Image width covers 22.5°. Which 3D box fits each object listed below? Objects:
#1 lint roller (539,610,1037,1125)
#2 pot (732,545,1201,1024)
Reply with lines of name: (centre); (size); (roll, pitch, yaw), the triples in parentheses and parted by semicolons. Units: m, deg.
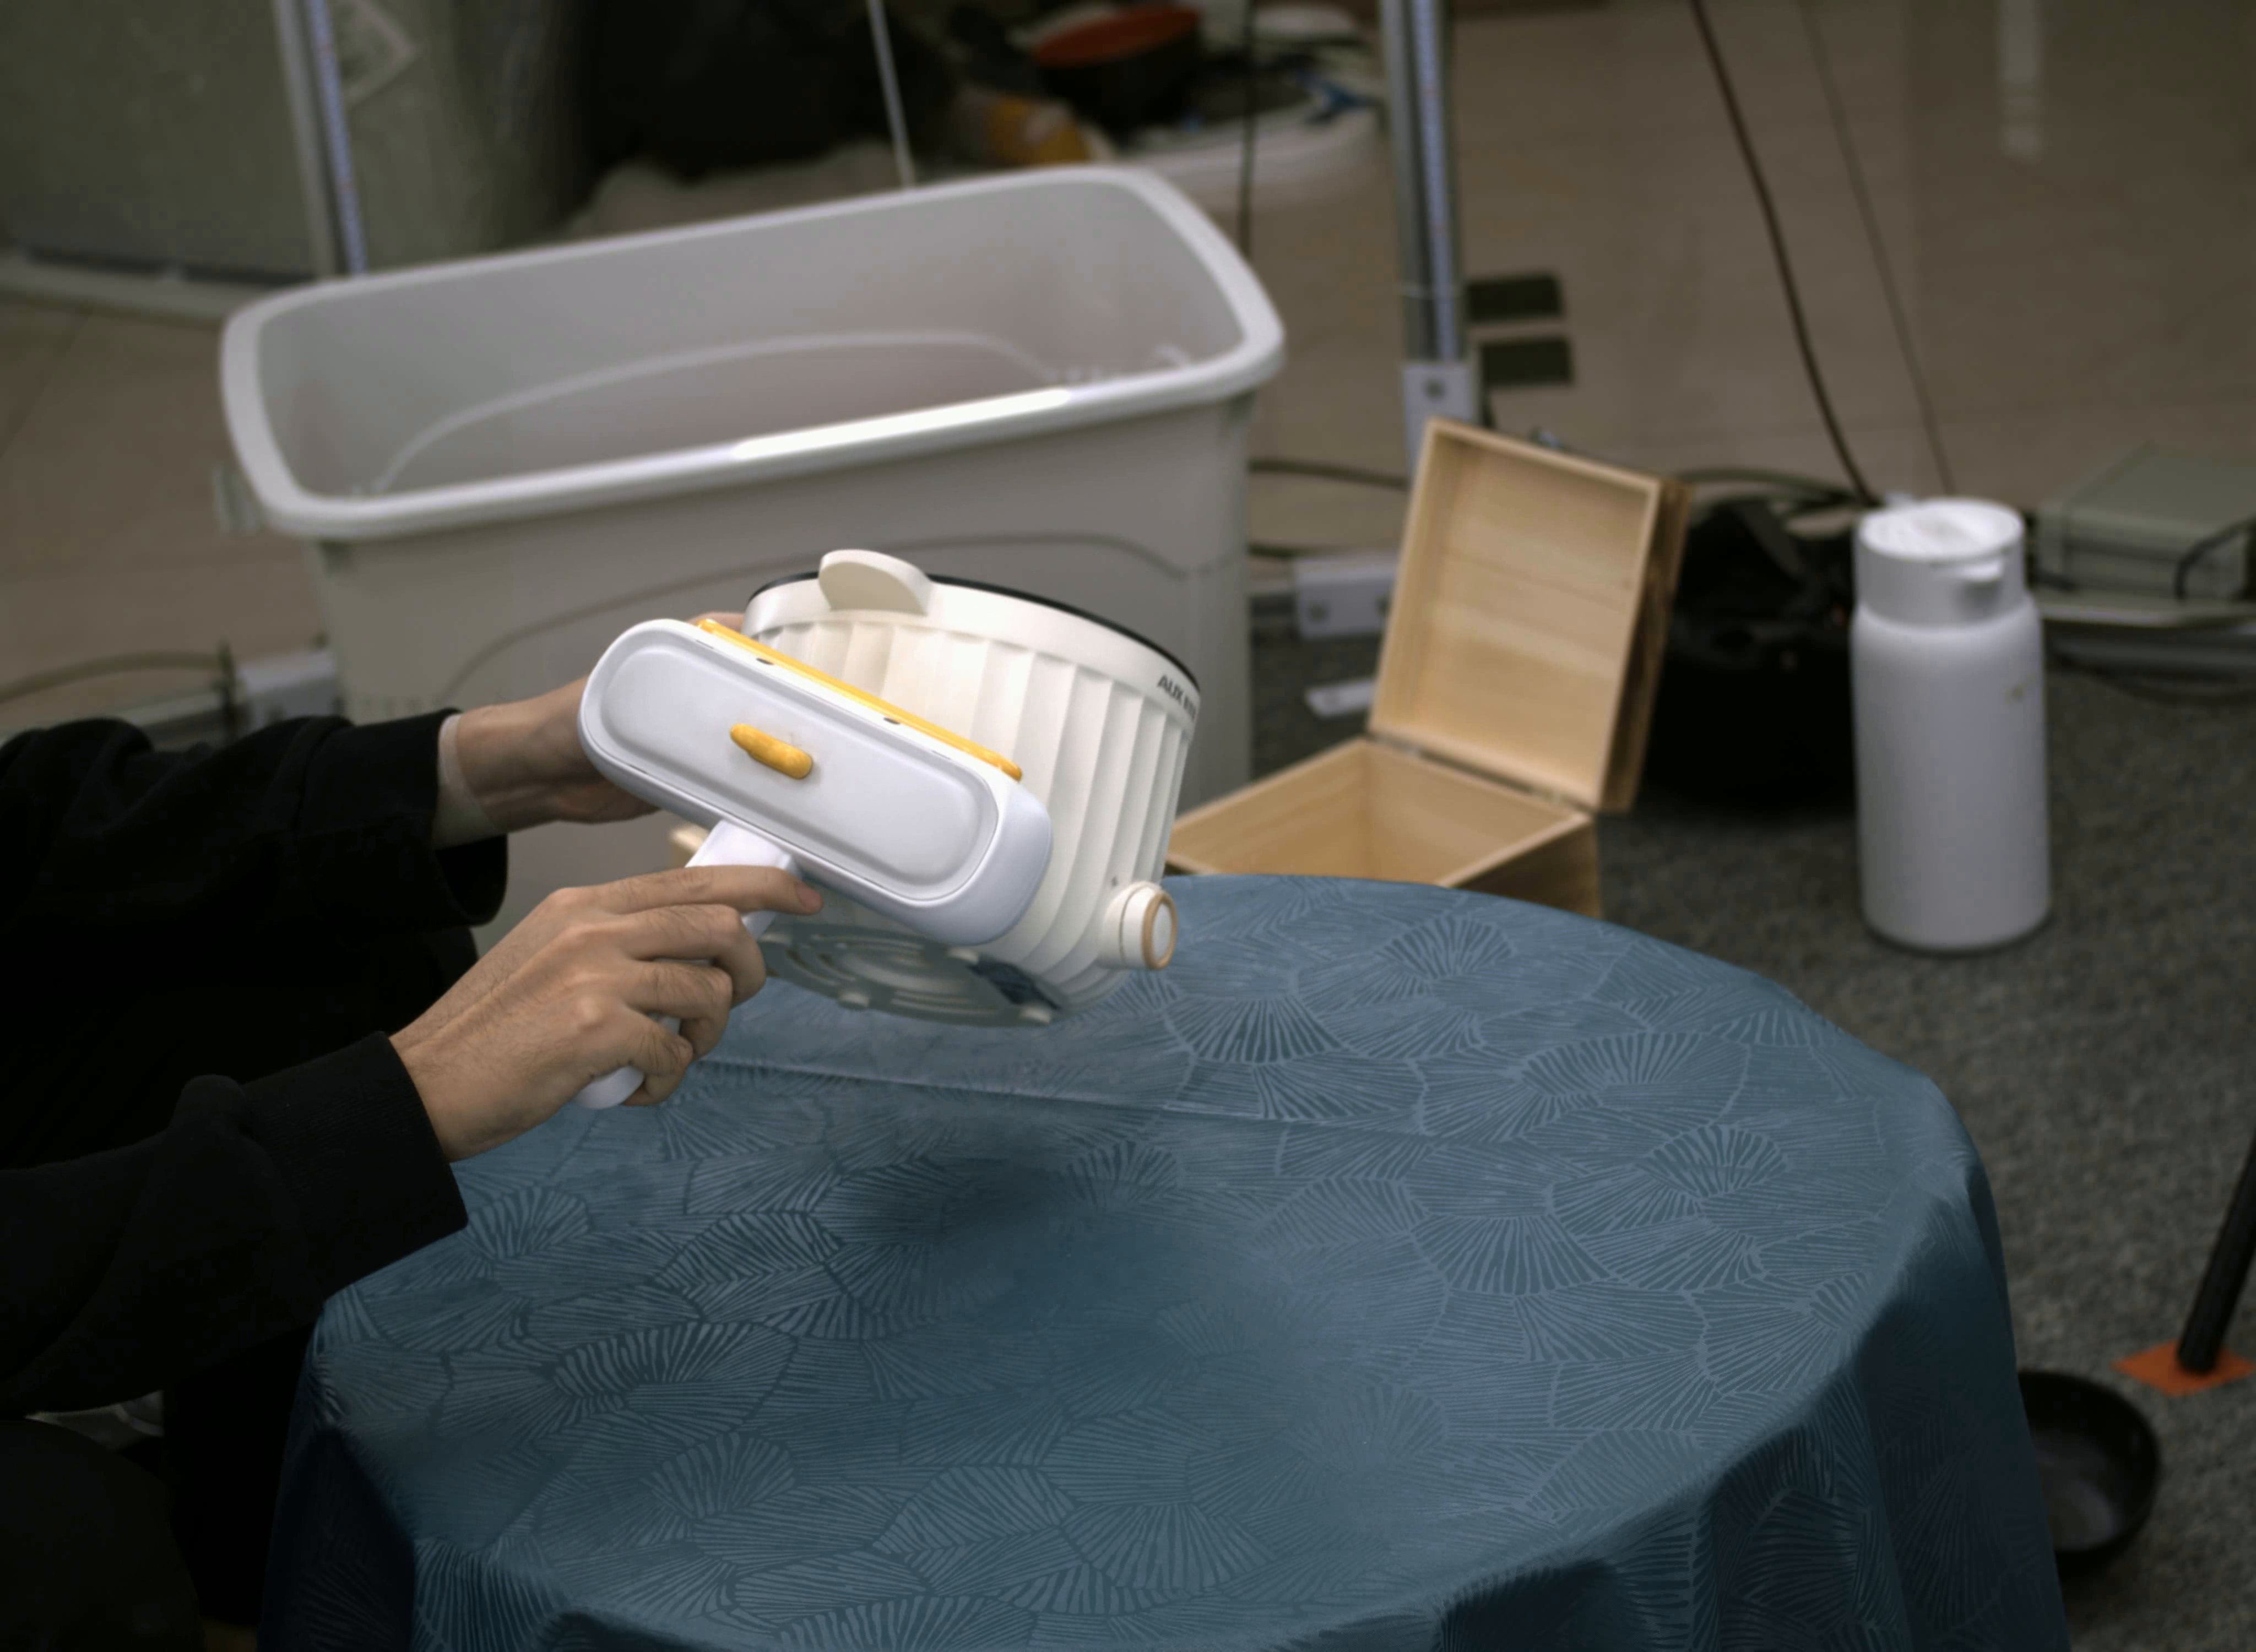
lint roller: (-0.150, 0.027, 2.044); (0.192, 0.075, 0.191); (23, 76, 17)
pot: (-0.066, -0.005, 2.178); (0.190, 0.141, 0.243); (1, -17, 21)
